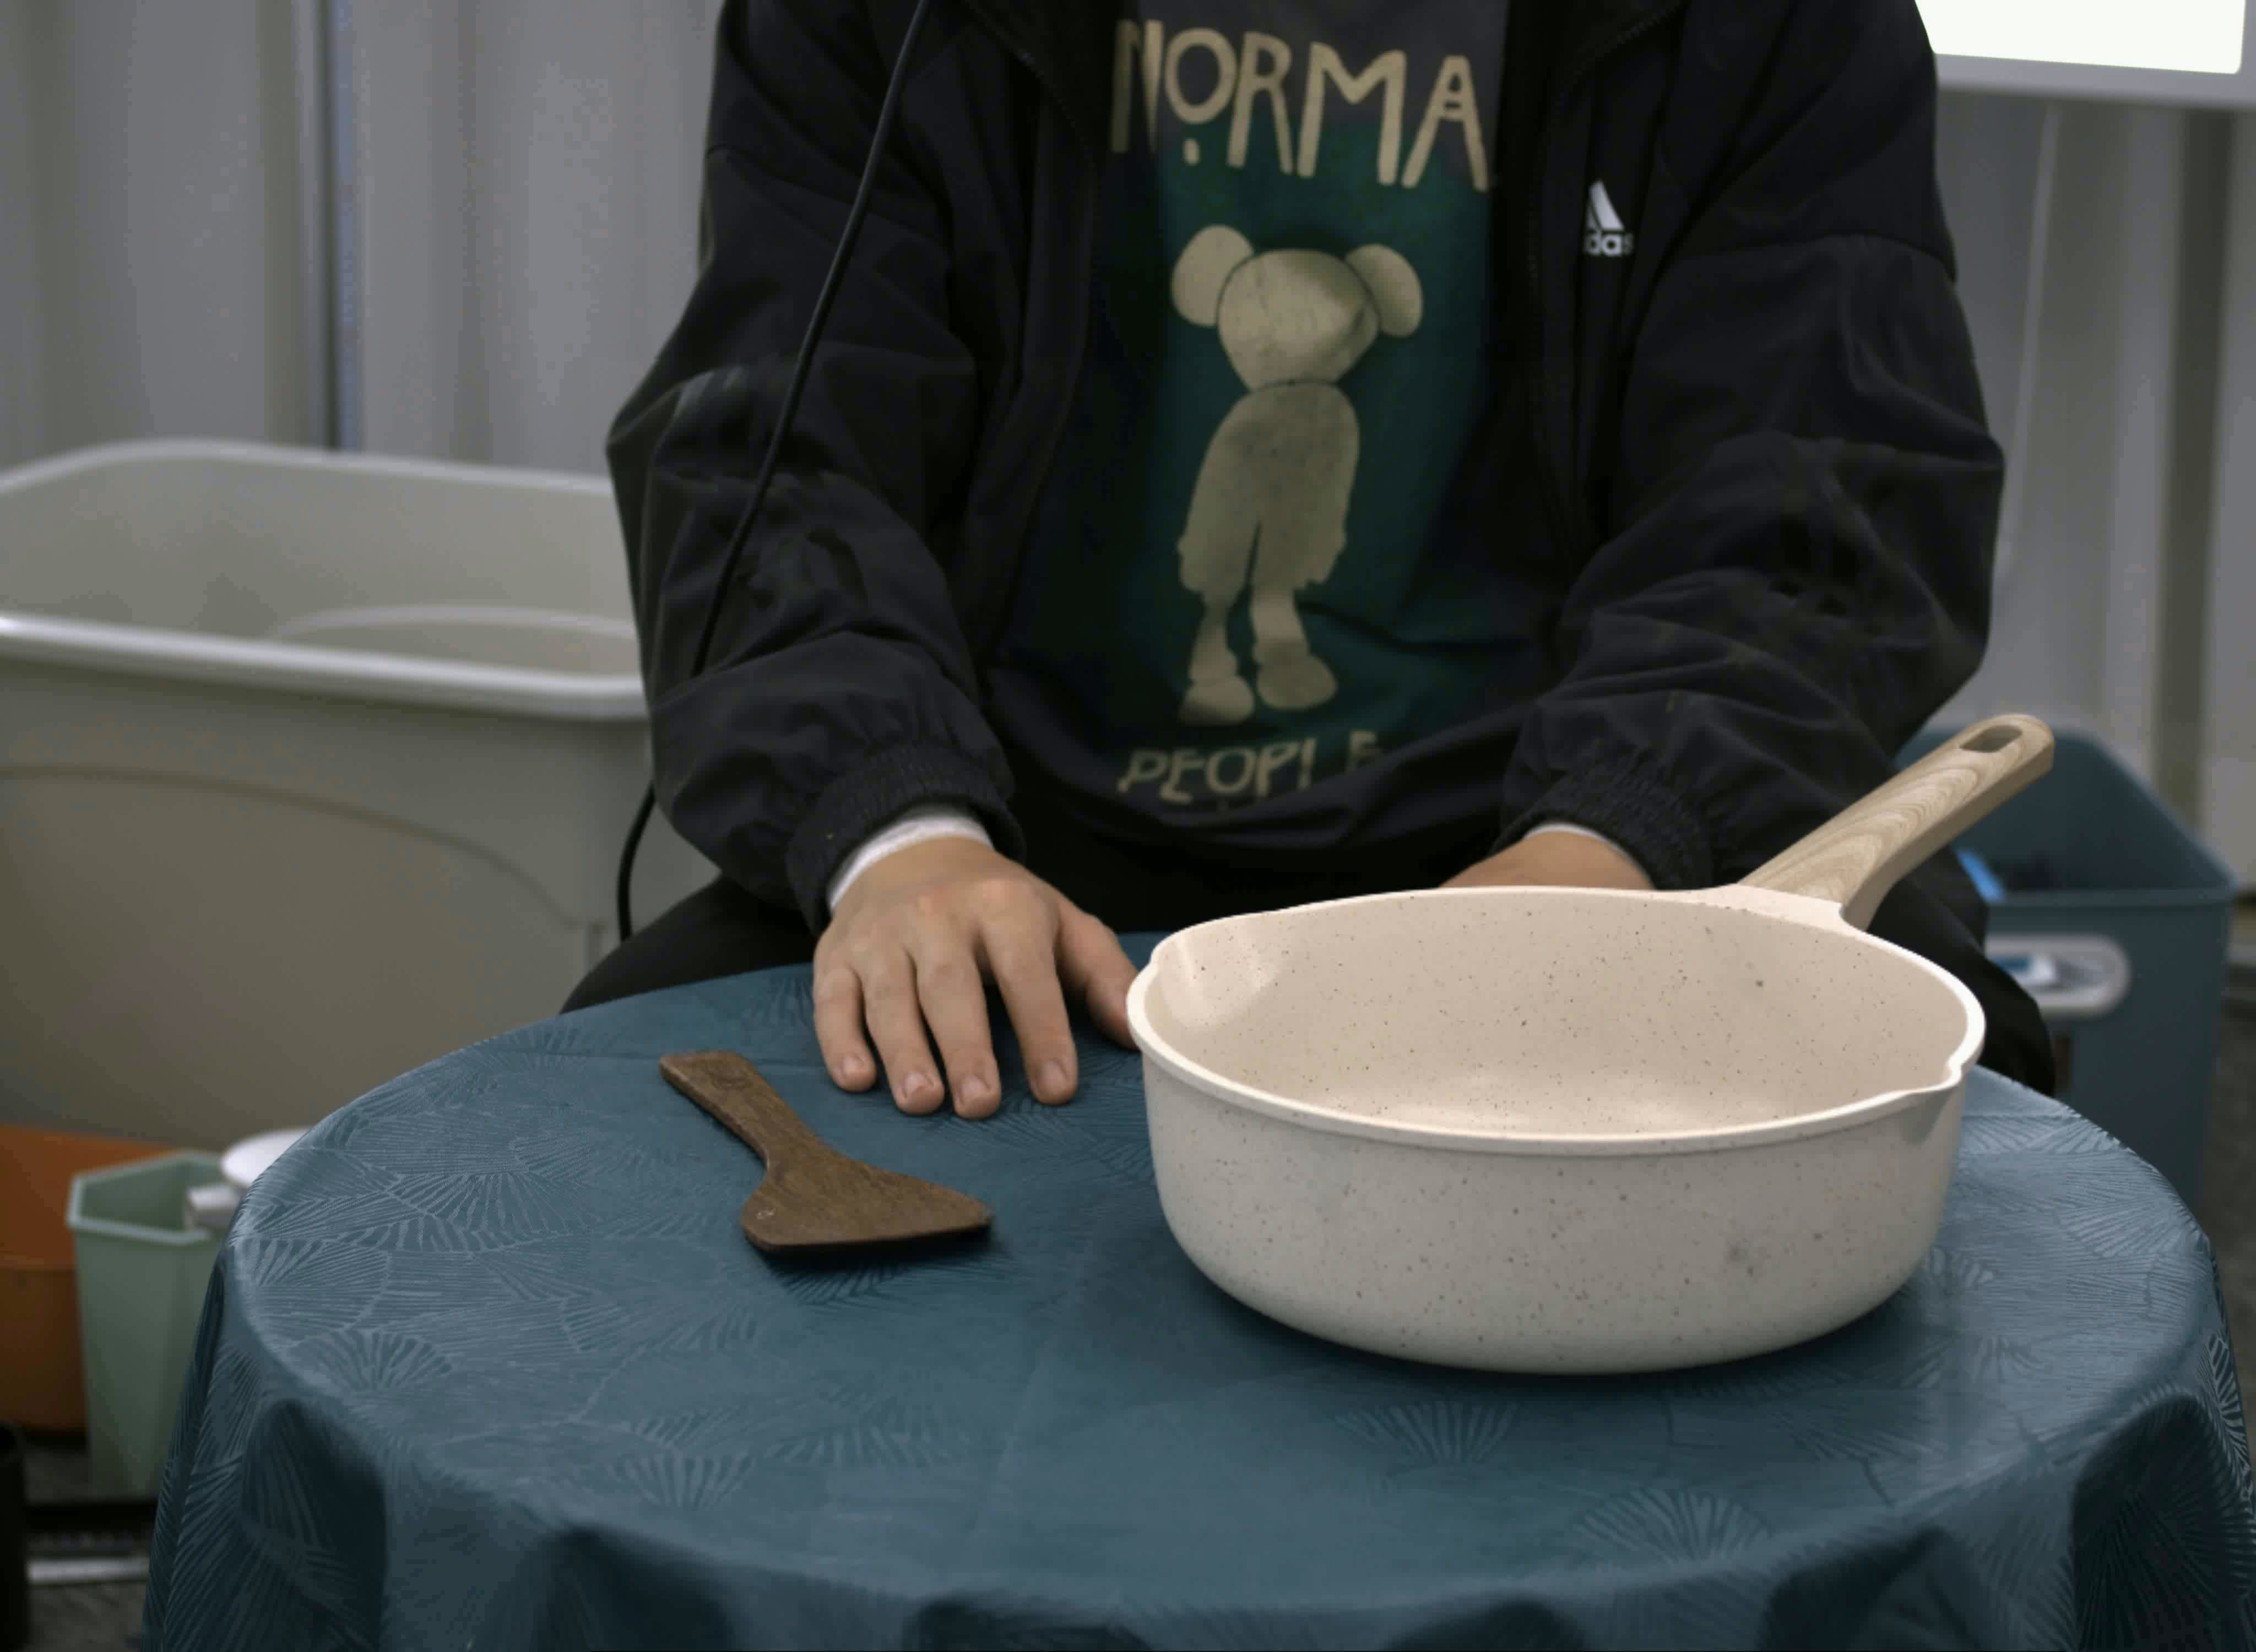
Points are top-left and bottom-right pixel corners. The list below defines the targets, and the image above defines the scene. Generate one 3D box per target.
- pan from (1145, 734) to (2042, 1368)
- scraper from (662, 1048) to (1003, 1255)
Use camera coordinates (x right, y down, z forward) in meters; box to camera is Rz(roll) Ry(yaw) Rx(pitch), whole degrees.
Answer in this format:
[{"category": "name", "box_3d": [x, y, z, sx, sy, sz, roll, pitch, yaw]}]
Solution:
[{"category": "pan", "box_3d": [0.181, 0.064, 1.623, 0.260, 0.103, 0.436, 9, 17, 33]}, {"category": "scraper", "box_3d": [-0.105, 0.101, 1.648, 0.076, 0.011, 0.209, -5, 15, -20]}]
